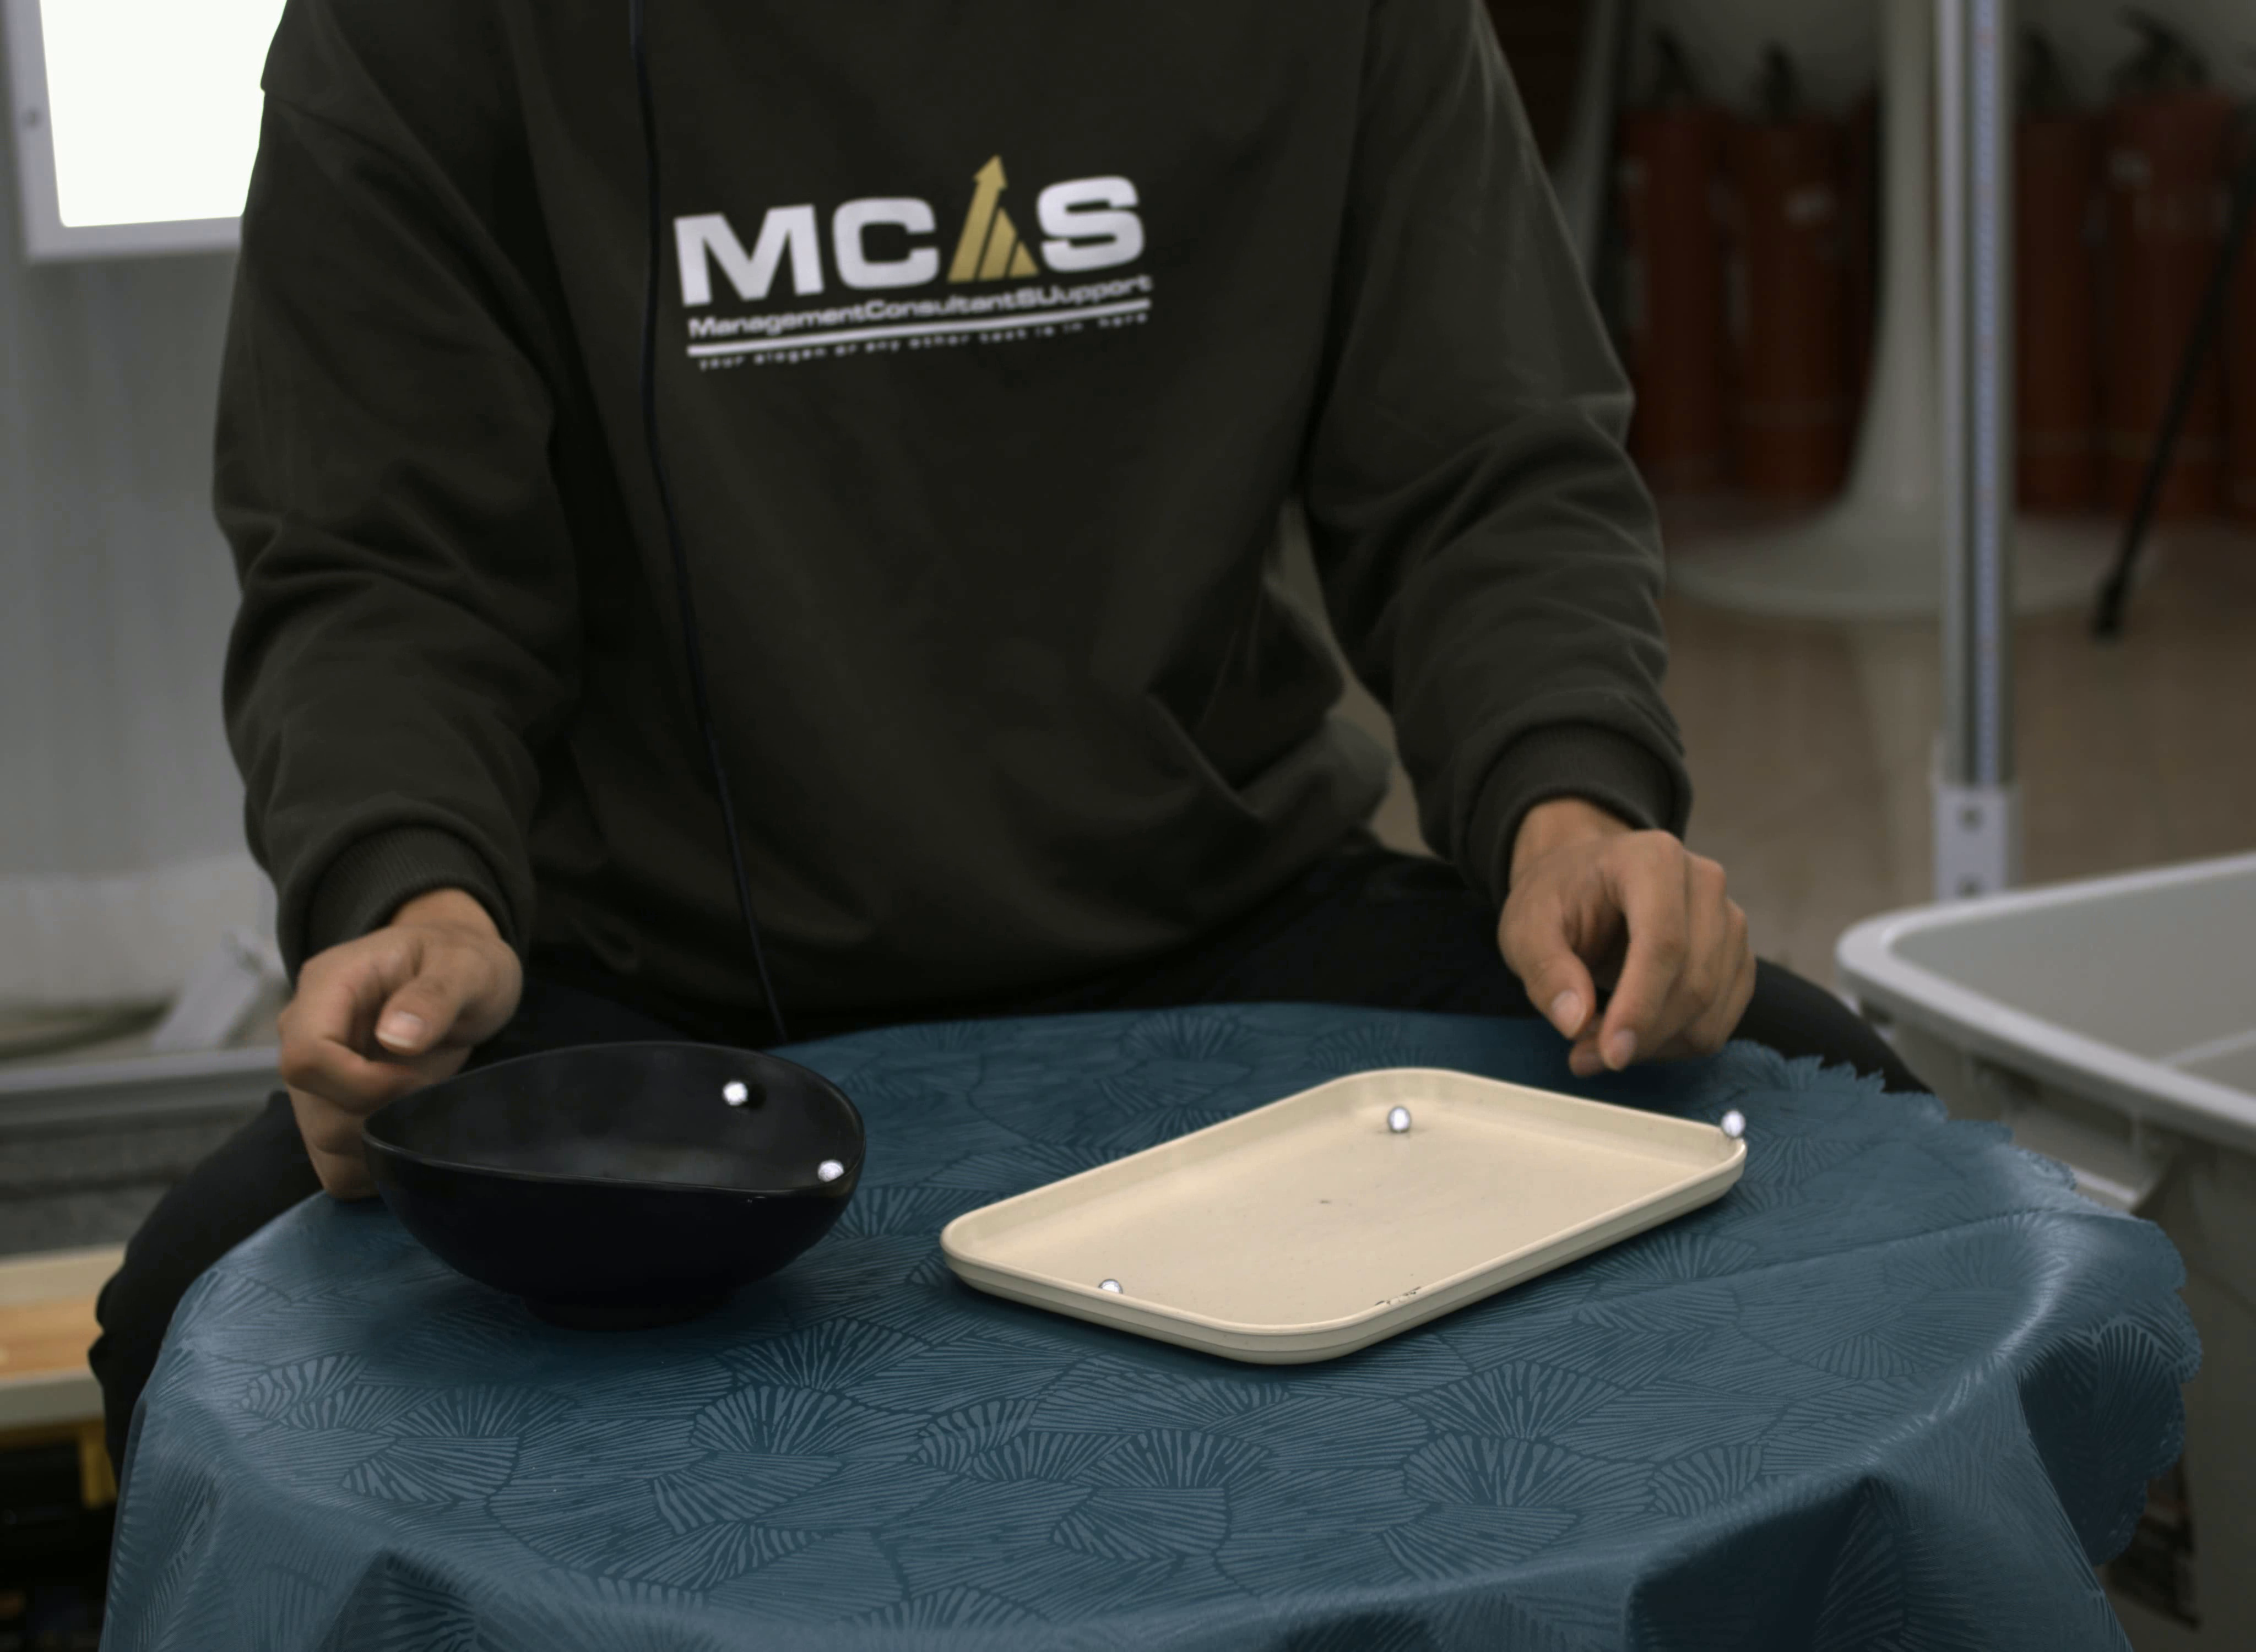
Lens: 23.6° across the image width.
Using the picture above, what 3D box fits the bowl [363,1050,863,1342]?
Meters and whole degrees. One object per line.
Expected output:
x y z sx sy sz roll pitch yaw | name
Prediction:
-0.158 0.120 1.694 0.171 0.067 0.135 5 17 29 | bowl

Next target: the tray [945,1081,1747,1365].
0.071 0.125 1.708 0.173 0.017 0.235 8 17 44 | tray
